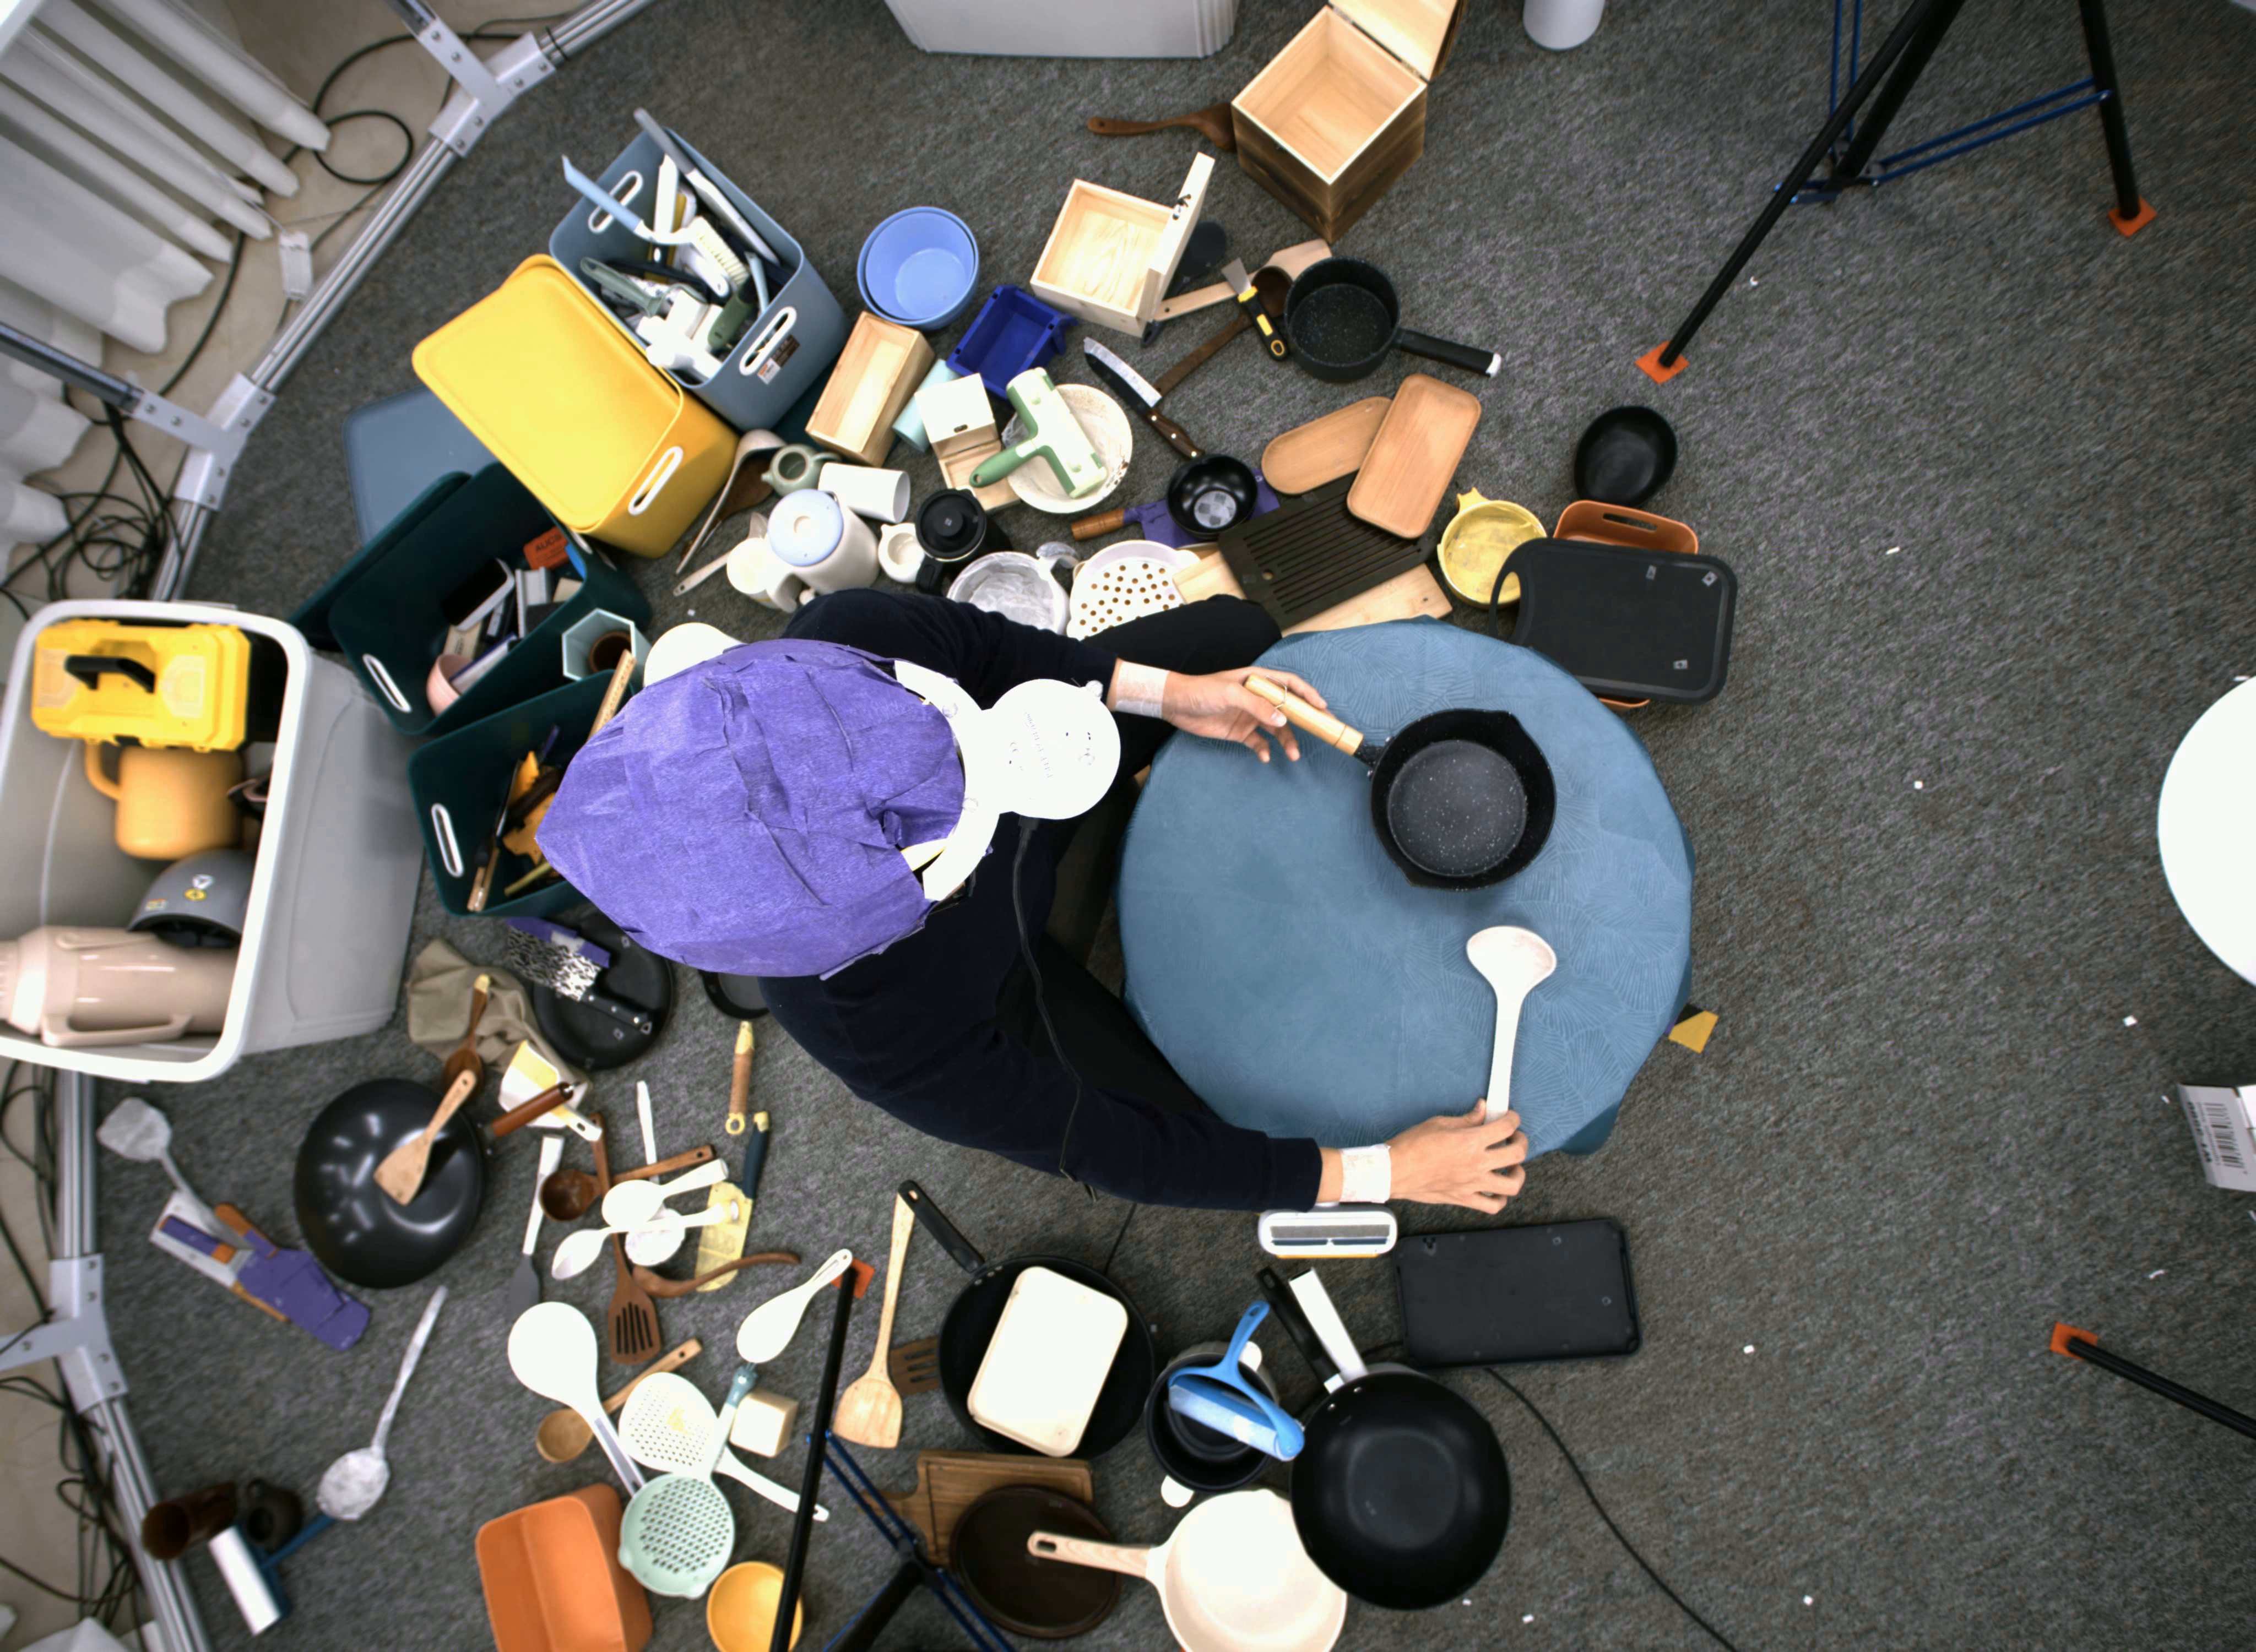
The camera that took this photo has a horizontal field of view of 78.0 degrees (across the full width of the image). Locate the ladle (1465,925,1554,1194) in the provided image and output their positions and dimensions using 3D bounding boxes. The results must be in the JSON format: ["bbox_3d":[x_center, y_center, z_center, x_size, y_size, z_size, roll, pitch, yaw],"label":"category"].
[{"bbox_3d":[0.374,0.235,1.395,0.090,0.069,0.274,6,87,22],"label":"ladle"}]

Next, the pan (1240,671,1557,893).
[{"bbox_3d":[0.269,-0.062,1.412,0.342,0.108,0.208,28,93,9],"label":"pan"}]
